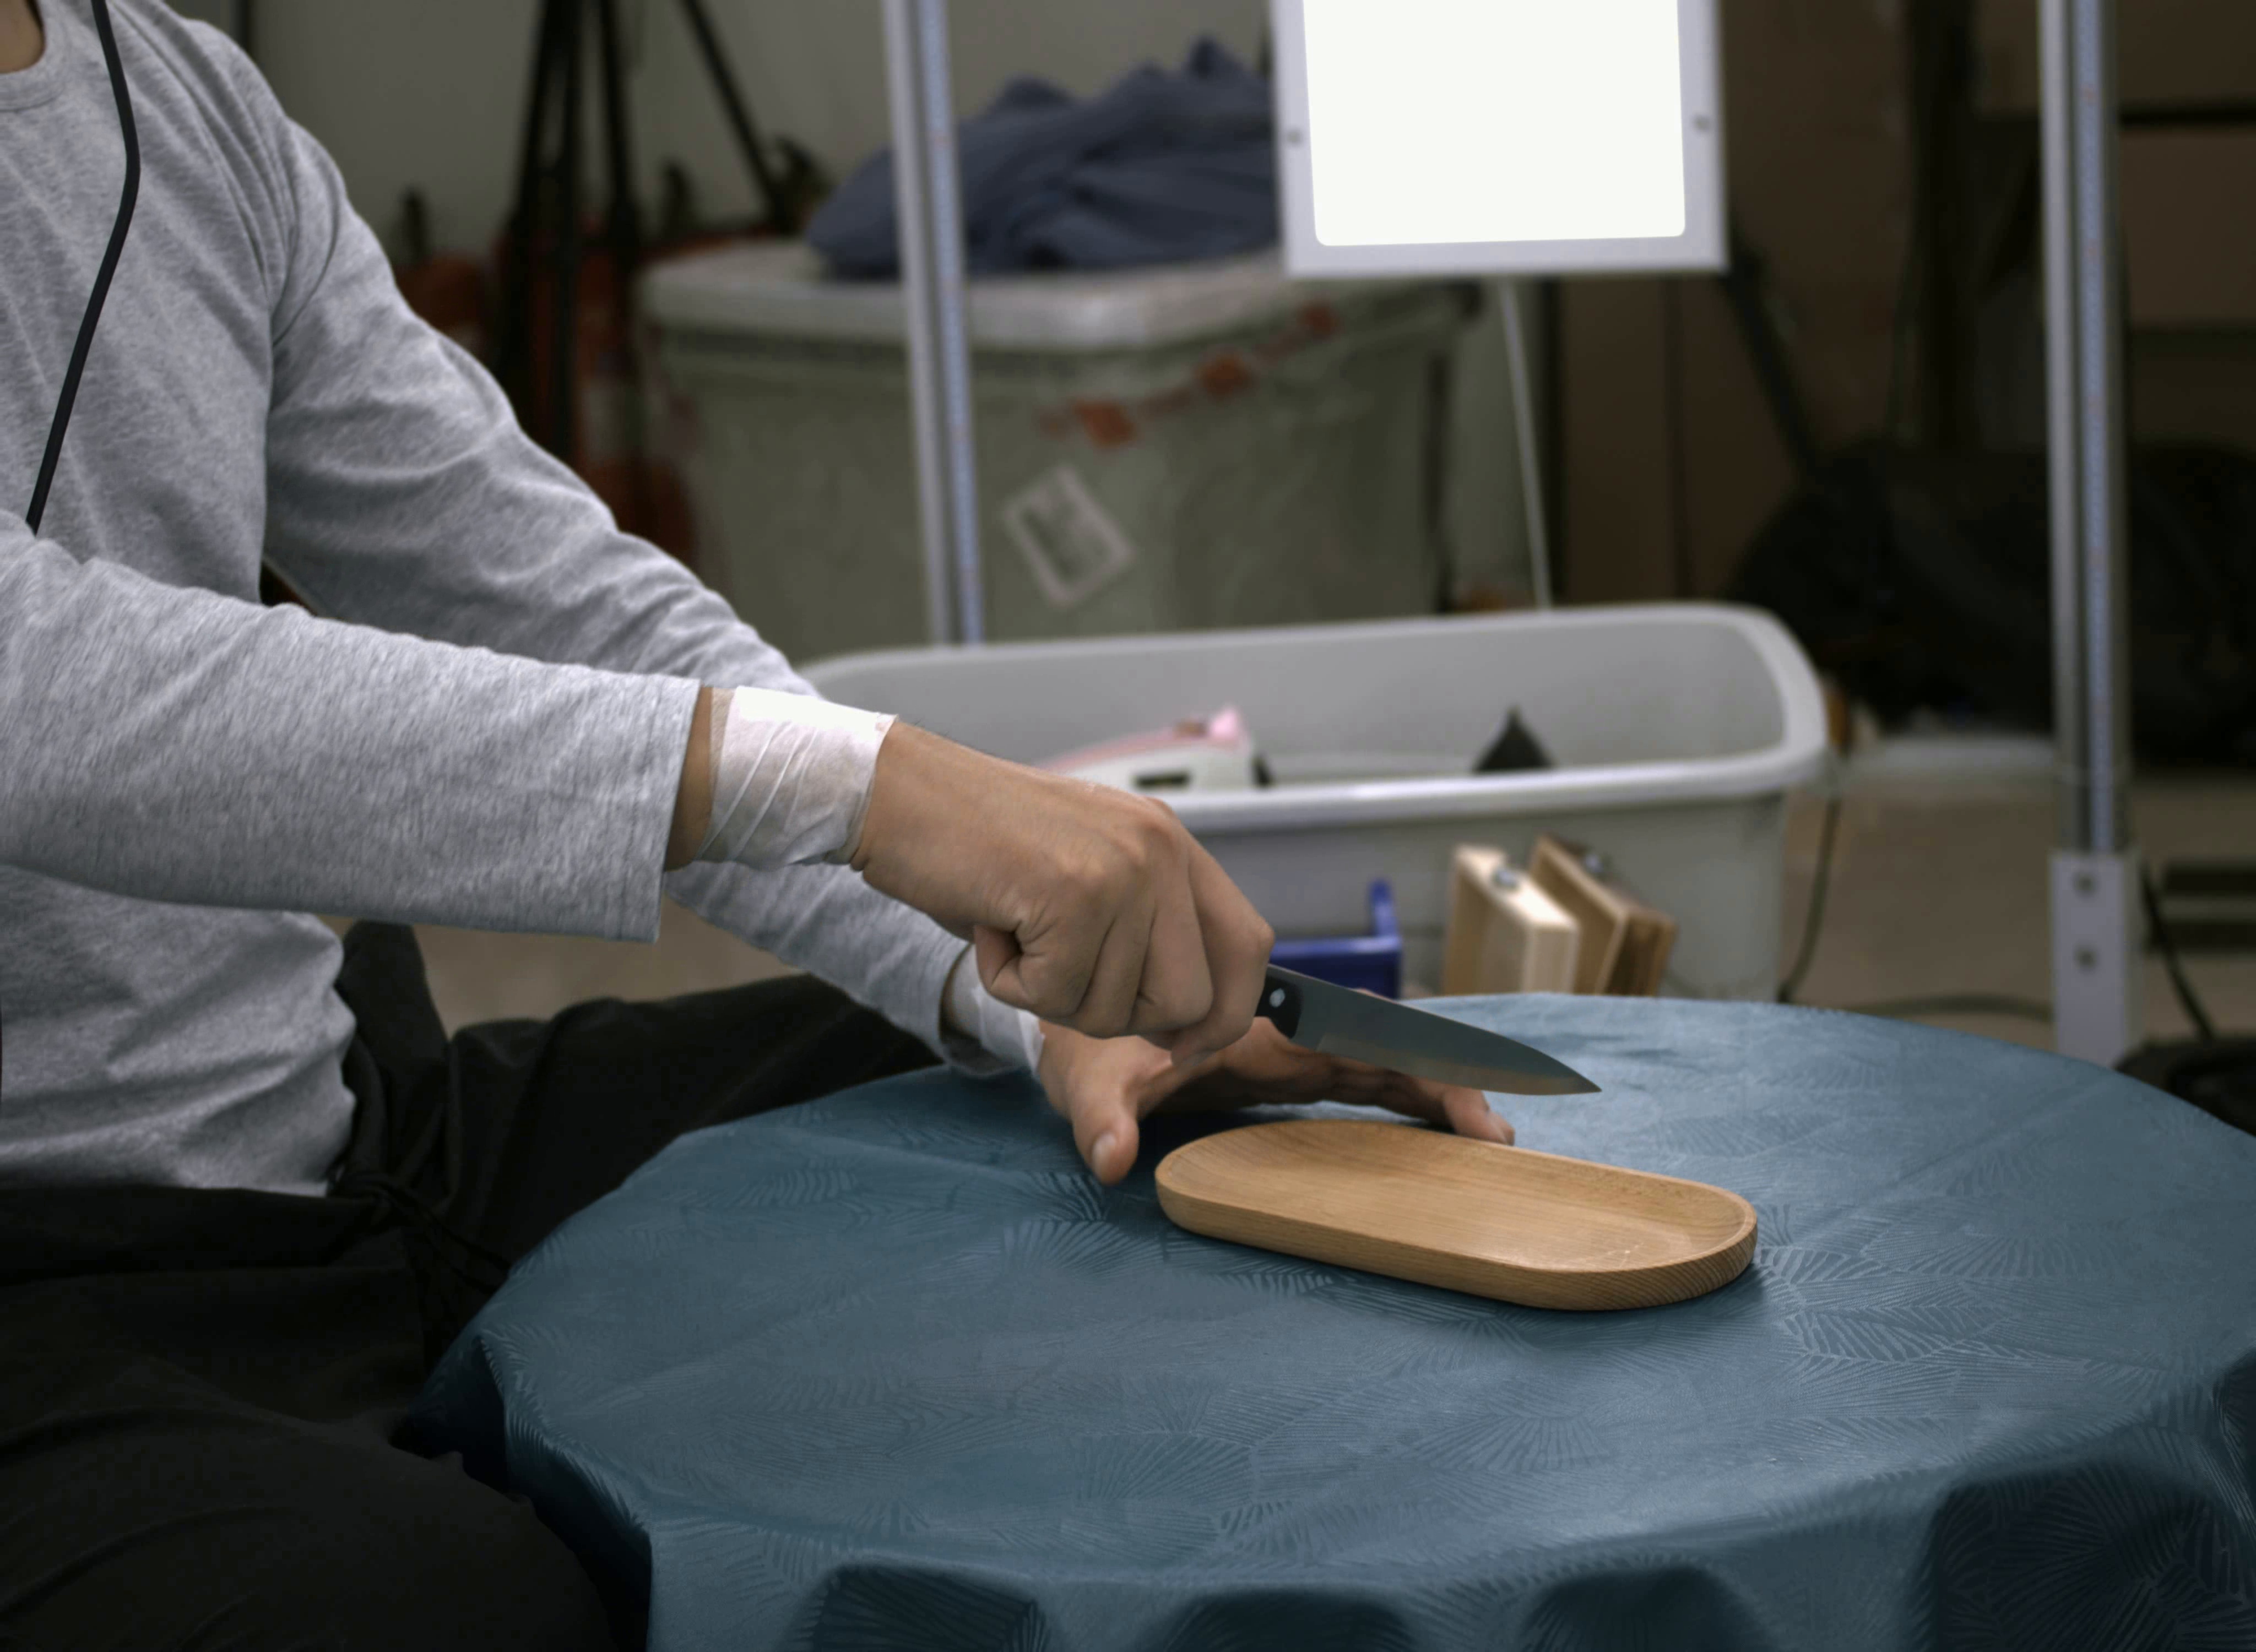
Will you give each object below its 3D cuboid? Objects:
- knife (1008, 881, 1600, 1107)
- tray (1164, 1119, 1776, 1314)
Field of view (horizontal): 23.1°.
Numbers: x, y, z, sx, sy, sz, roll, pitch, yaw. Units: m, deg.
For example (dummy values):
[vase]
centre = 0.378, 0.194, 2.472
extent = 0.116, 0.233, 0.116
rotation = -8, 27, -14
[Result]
[knife]
centre = 0.061, 0.055, 1.742
extent = 0.233, 0.024, 0.016
rotation = 19, -14, -31
[tray]
centre = 0.111, 0.128, 1.823
extent = 0.236, 0.020, 0.099
rotation = 10, 22, 42
